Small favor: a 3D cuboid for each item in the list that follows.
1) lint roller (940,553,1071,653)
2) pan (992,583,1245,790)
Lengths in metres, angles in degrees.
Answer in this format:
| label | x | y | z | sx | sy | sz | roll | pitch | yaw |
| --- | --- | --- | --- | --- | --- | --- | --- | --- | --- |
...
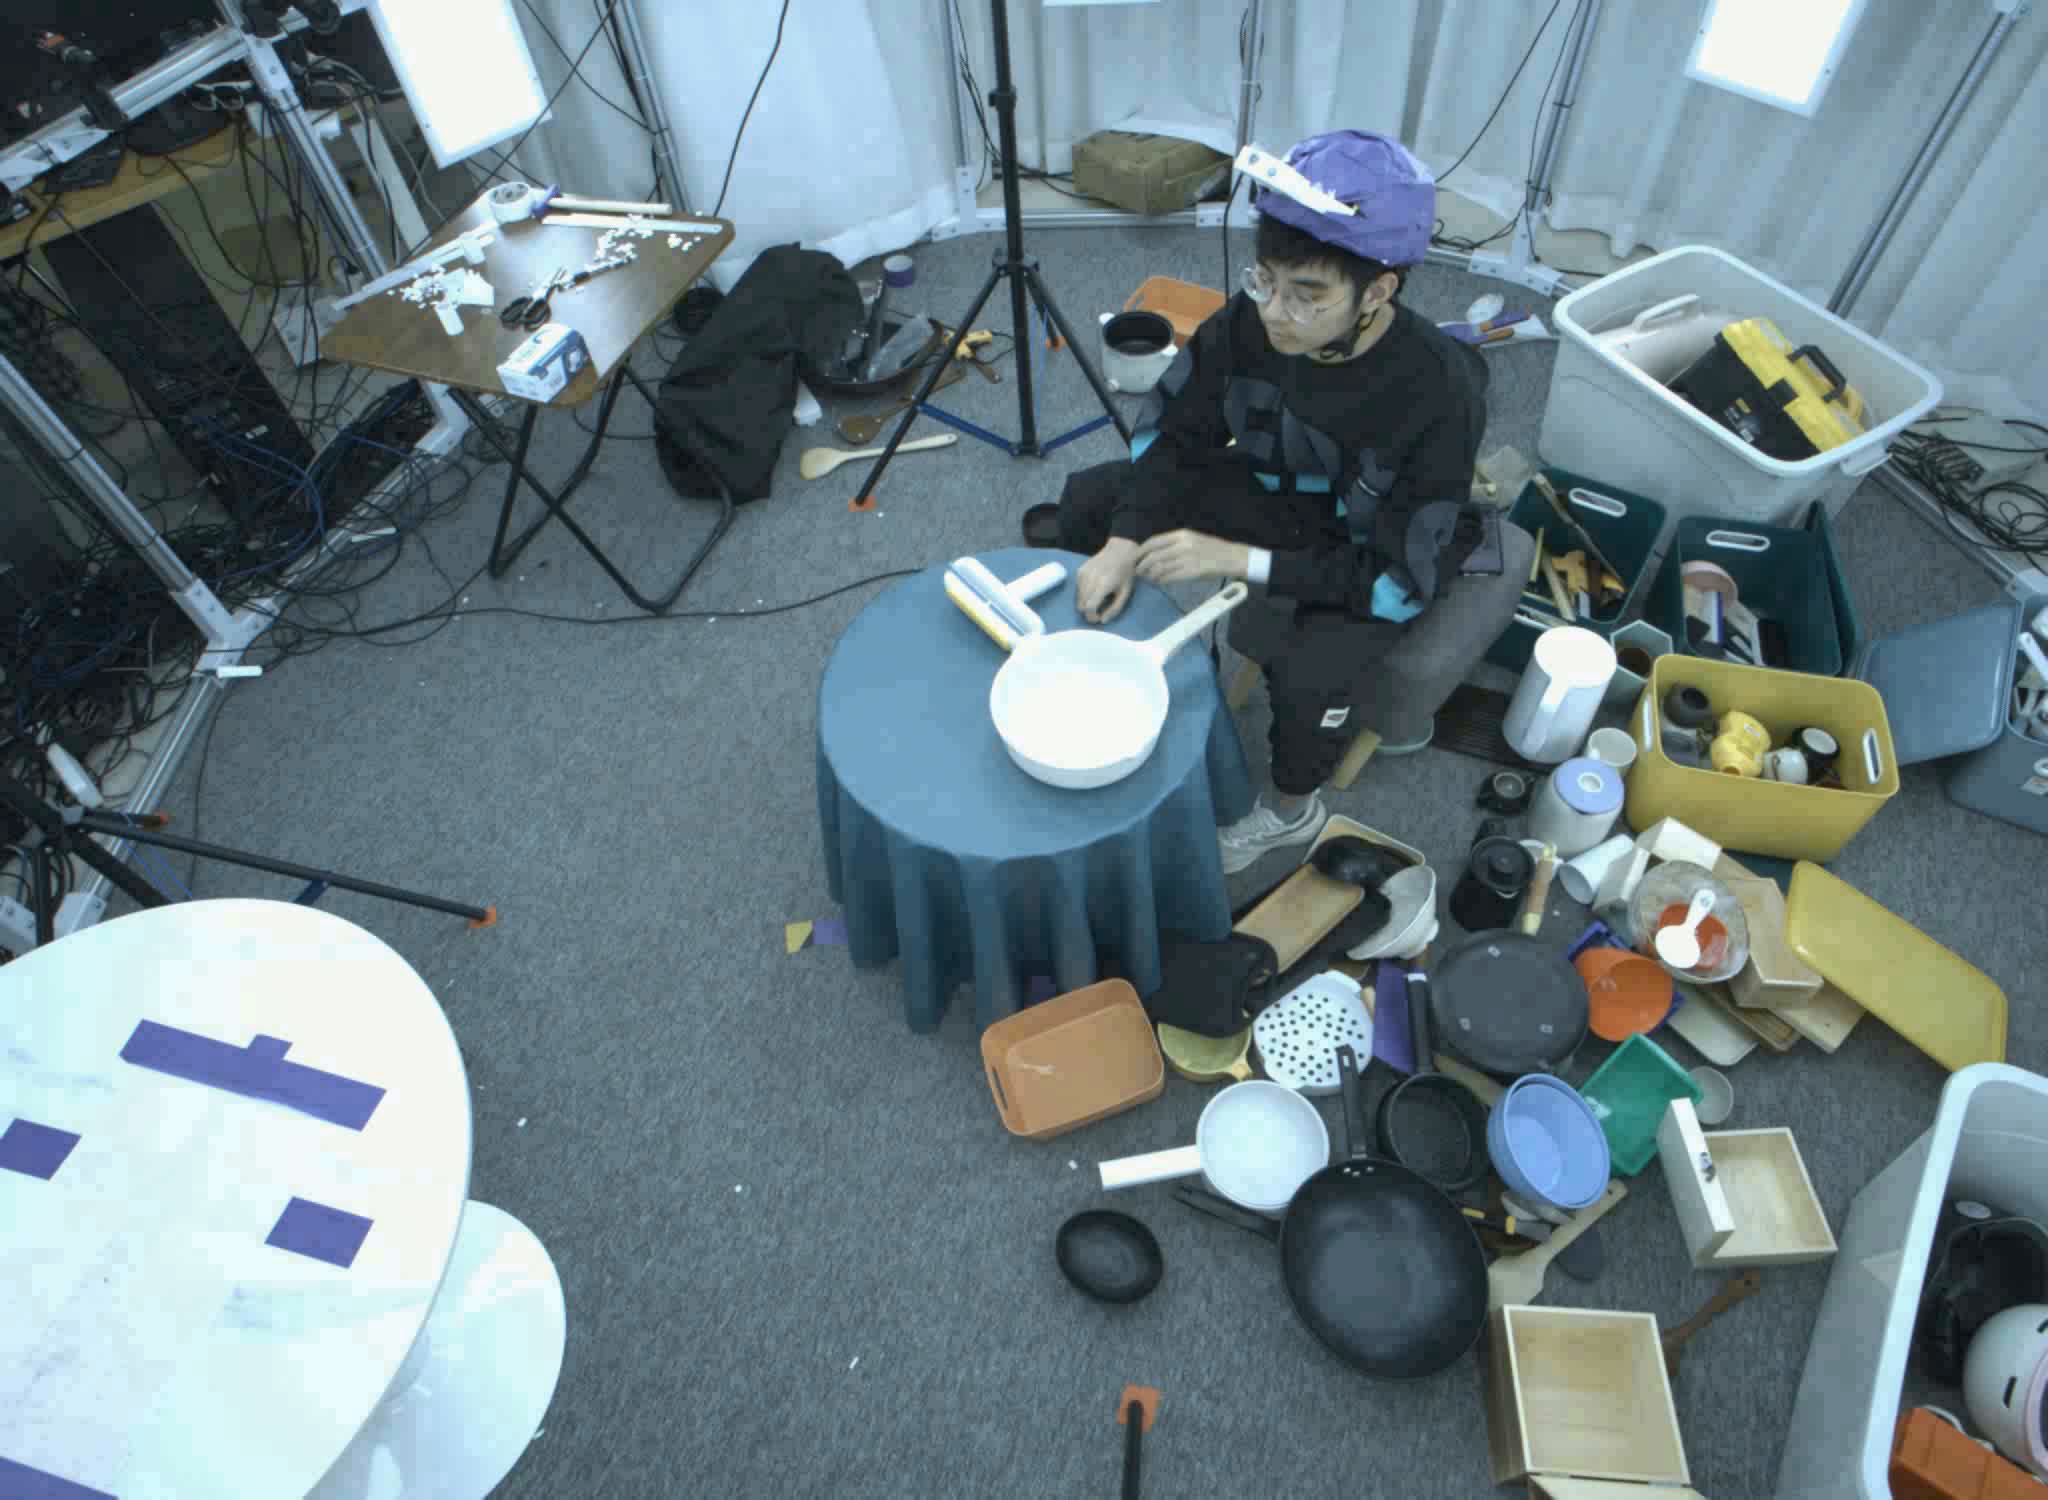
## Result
| label | x | y | z | sx | sy | sz | roll | pitch | yaw |
| --- | --- | --- | --- | --- | --- | --- | --- | --- | --- |
| lint roller | -0.007 | -0.253 | 1.921 | 0.194 | 0.075 | 0.190 | -34 | 66 | -22 |
| pan | 0.156 | -0.101 | 1.788 | 0.438 | 0.103 | 0.258 | -33 | 57 | -19 |
